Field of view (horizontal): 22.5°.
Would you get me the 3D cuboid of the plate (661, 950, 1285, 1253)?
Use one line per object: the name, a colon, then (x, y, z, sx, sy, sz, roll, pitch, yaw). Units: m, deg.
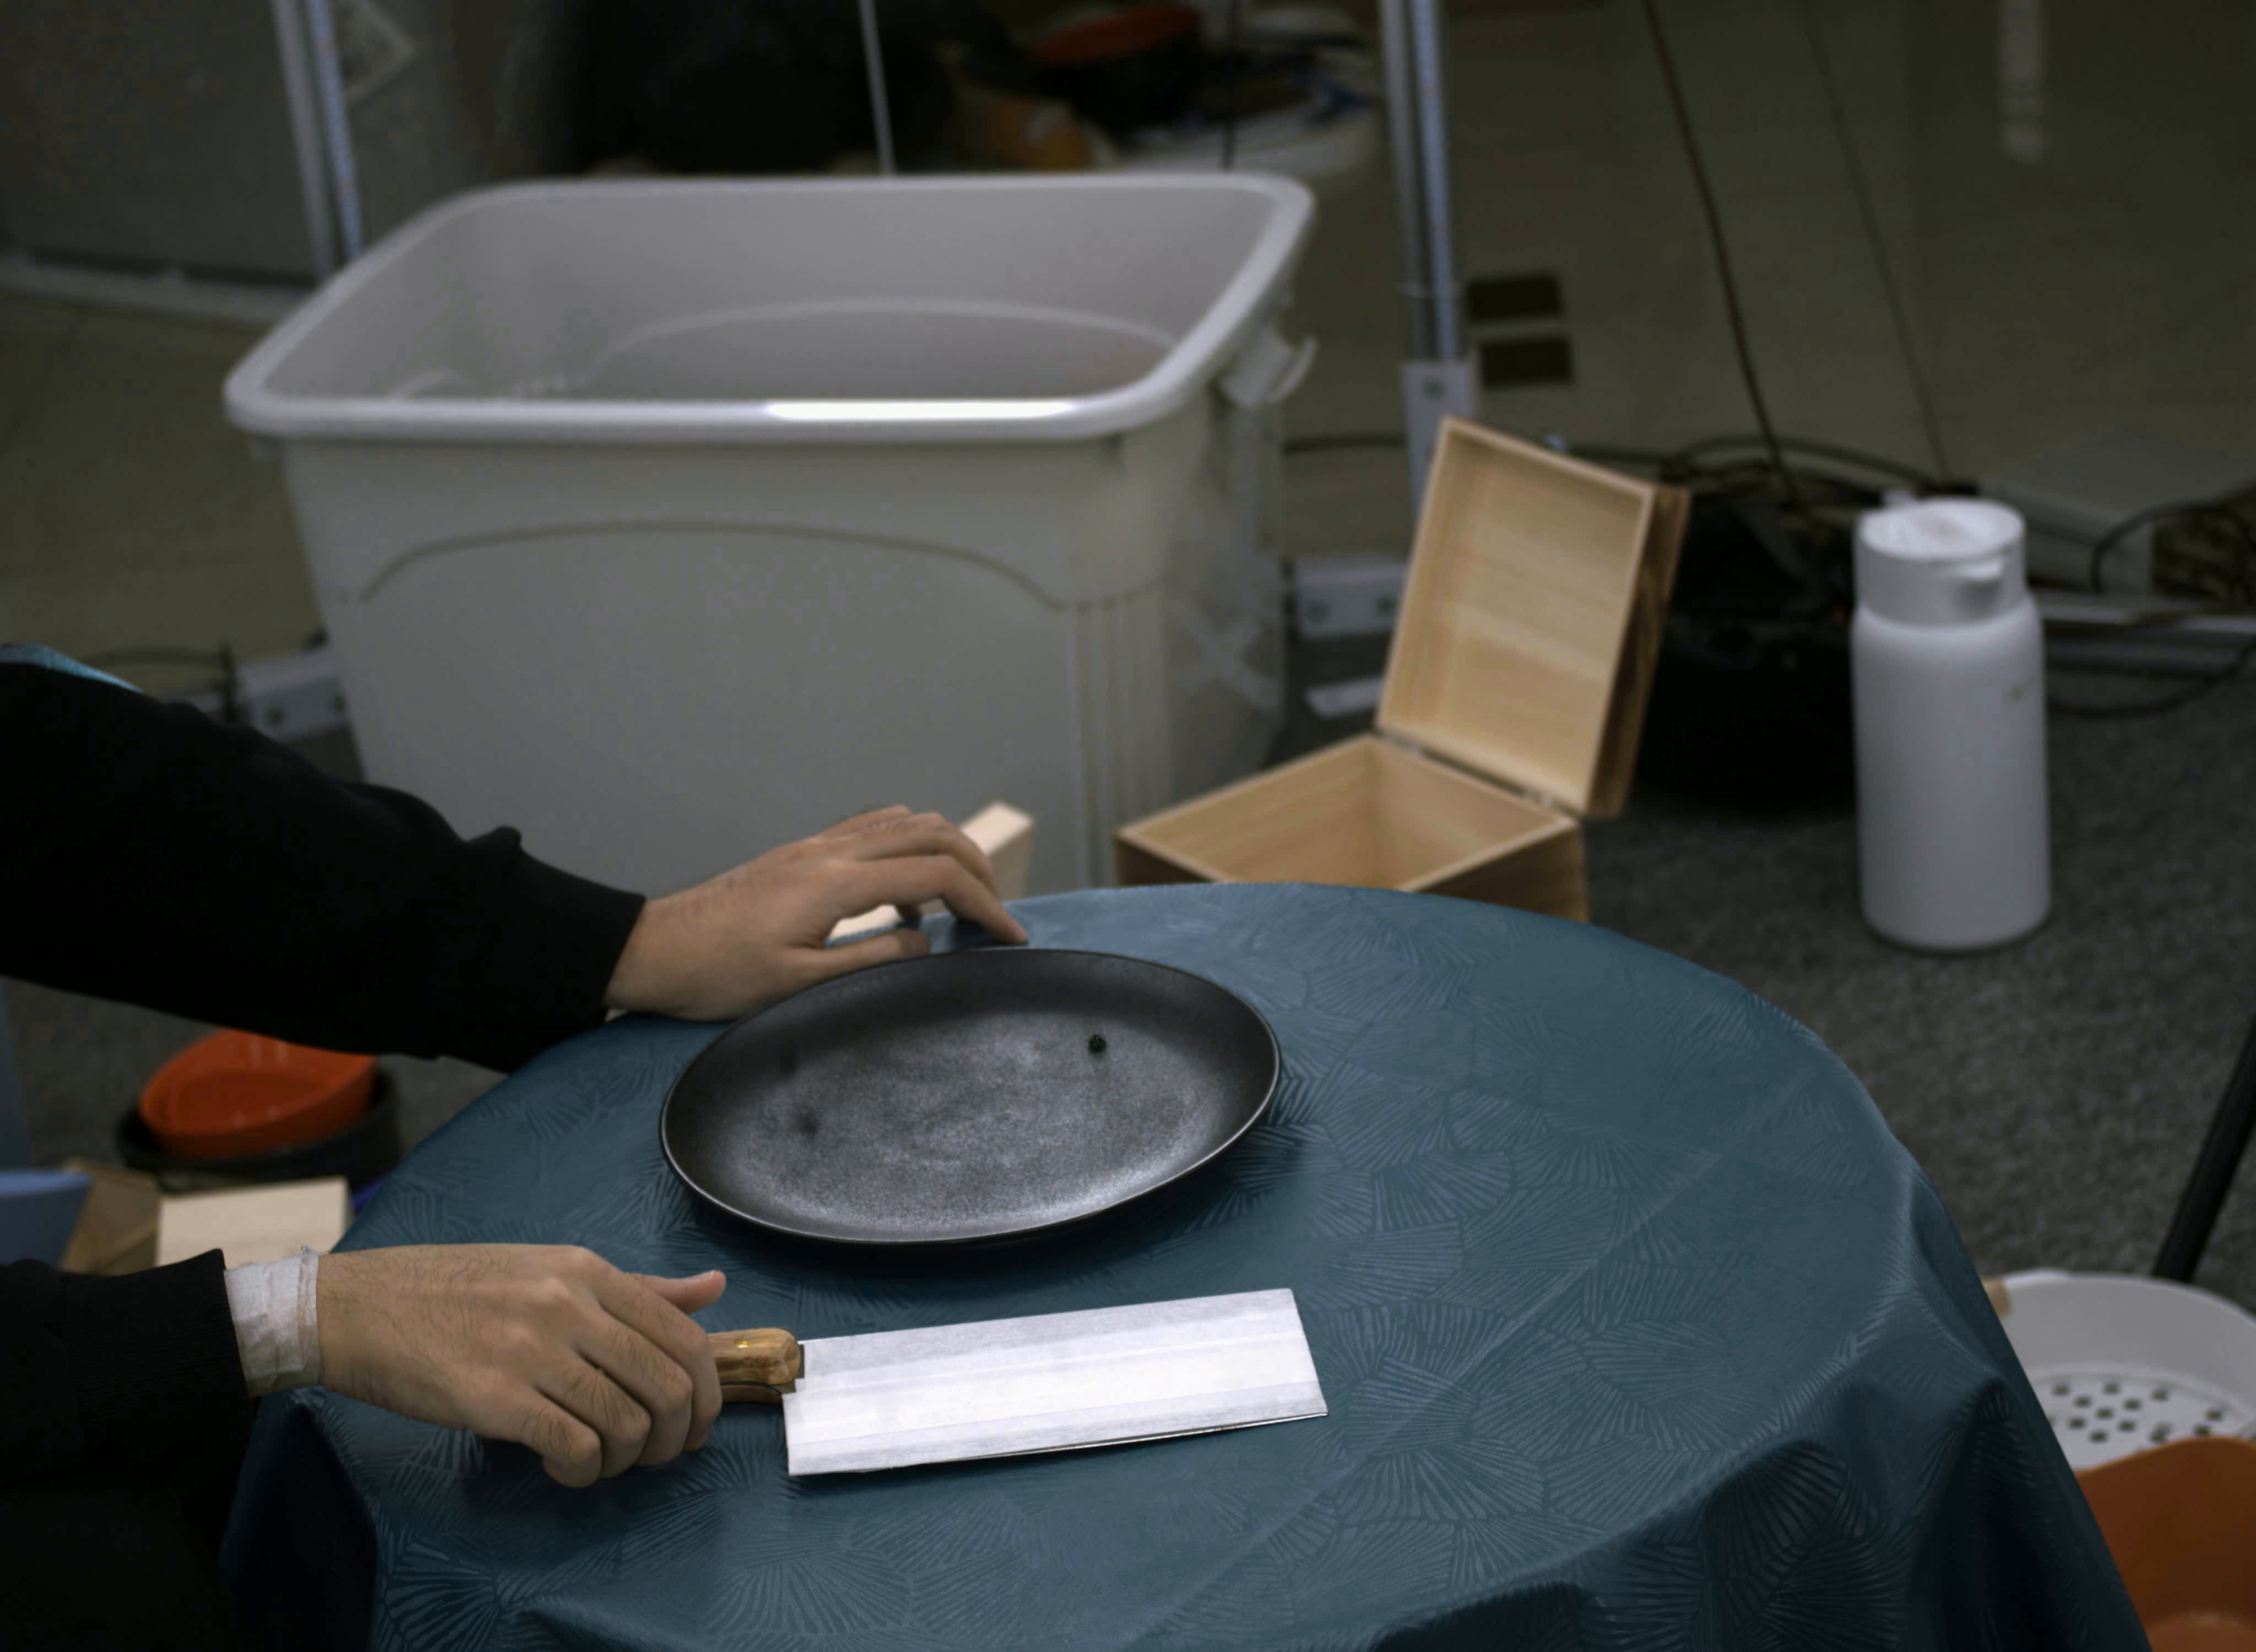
plate: (-0.059, 0.110, 2.193, 0.244, 0.024, 0.241, -5, 25, 3)

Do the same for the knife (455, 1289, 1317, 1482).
knife: (-0.086, 0.202, 2.014, 0.305, 0.021, 0.091, -6, 26, -4)
